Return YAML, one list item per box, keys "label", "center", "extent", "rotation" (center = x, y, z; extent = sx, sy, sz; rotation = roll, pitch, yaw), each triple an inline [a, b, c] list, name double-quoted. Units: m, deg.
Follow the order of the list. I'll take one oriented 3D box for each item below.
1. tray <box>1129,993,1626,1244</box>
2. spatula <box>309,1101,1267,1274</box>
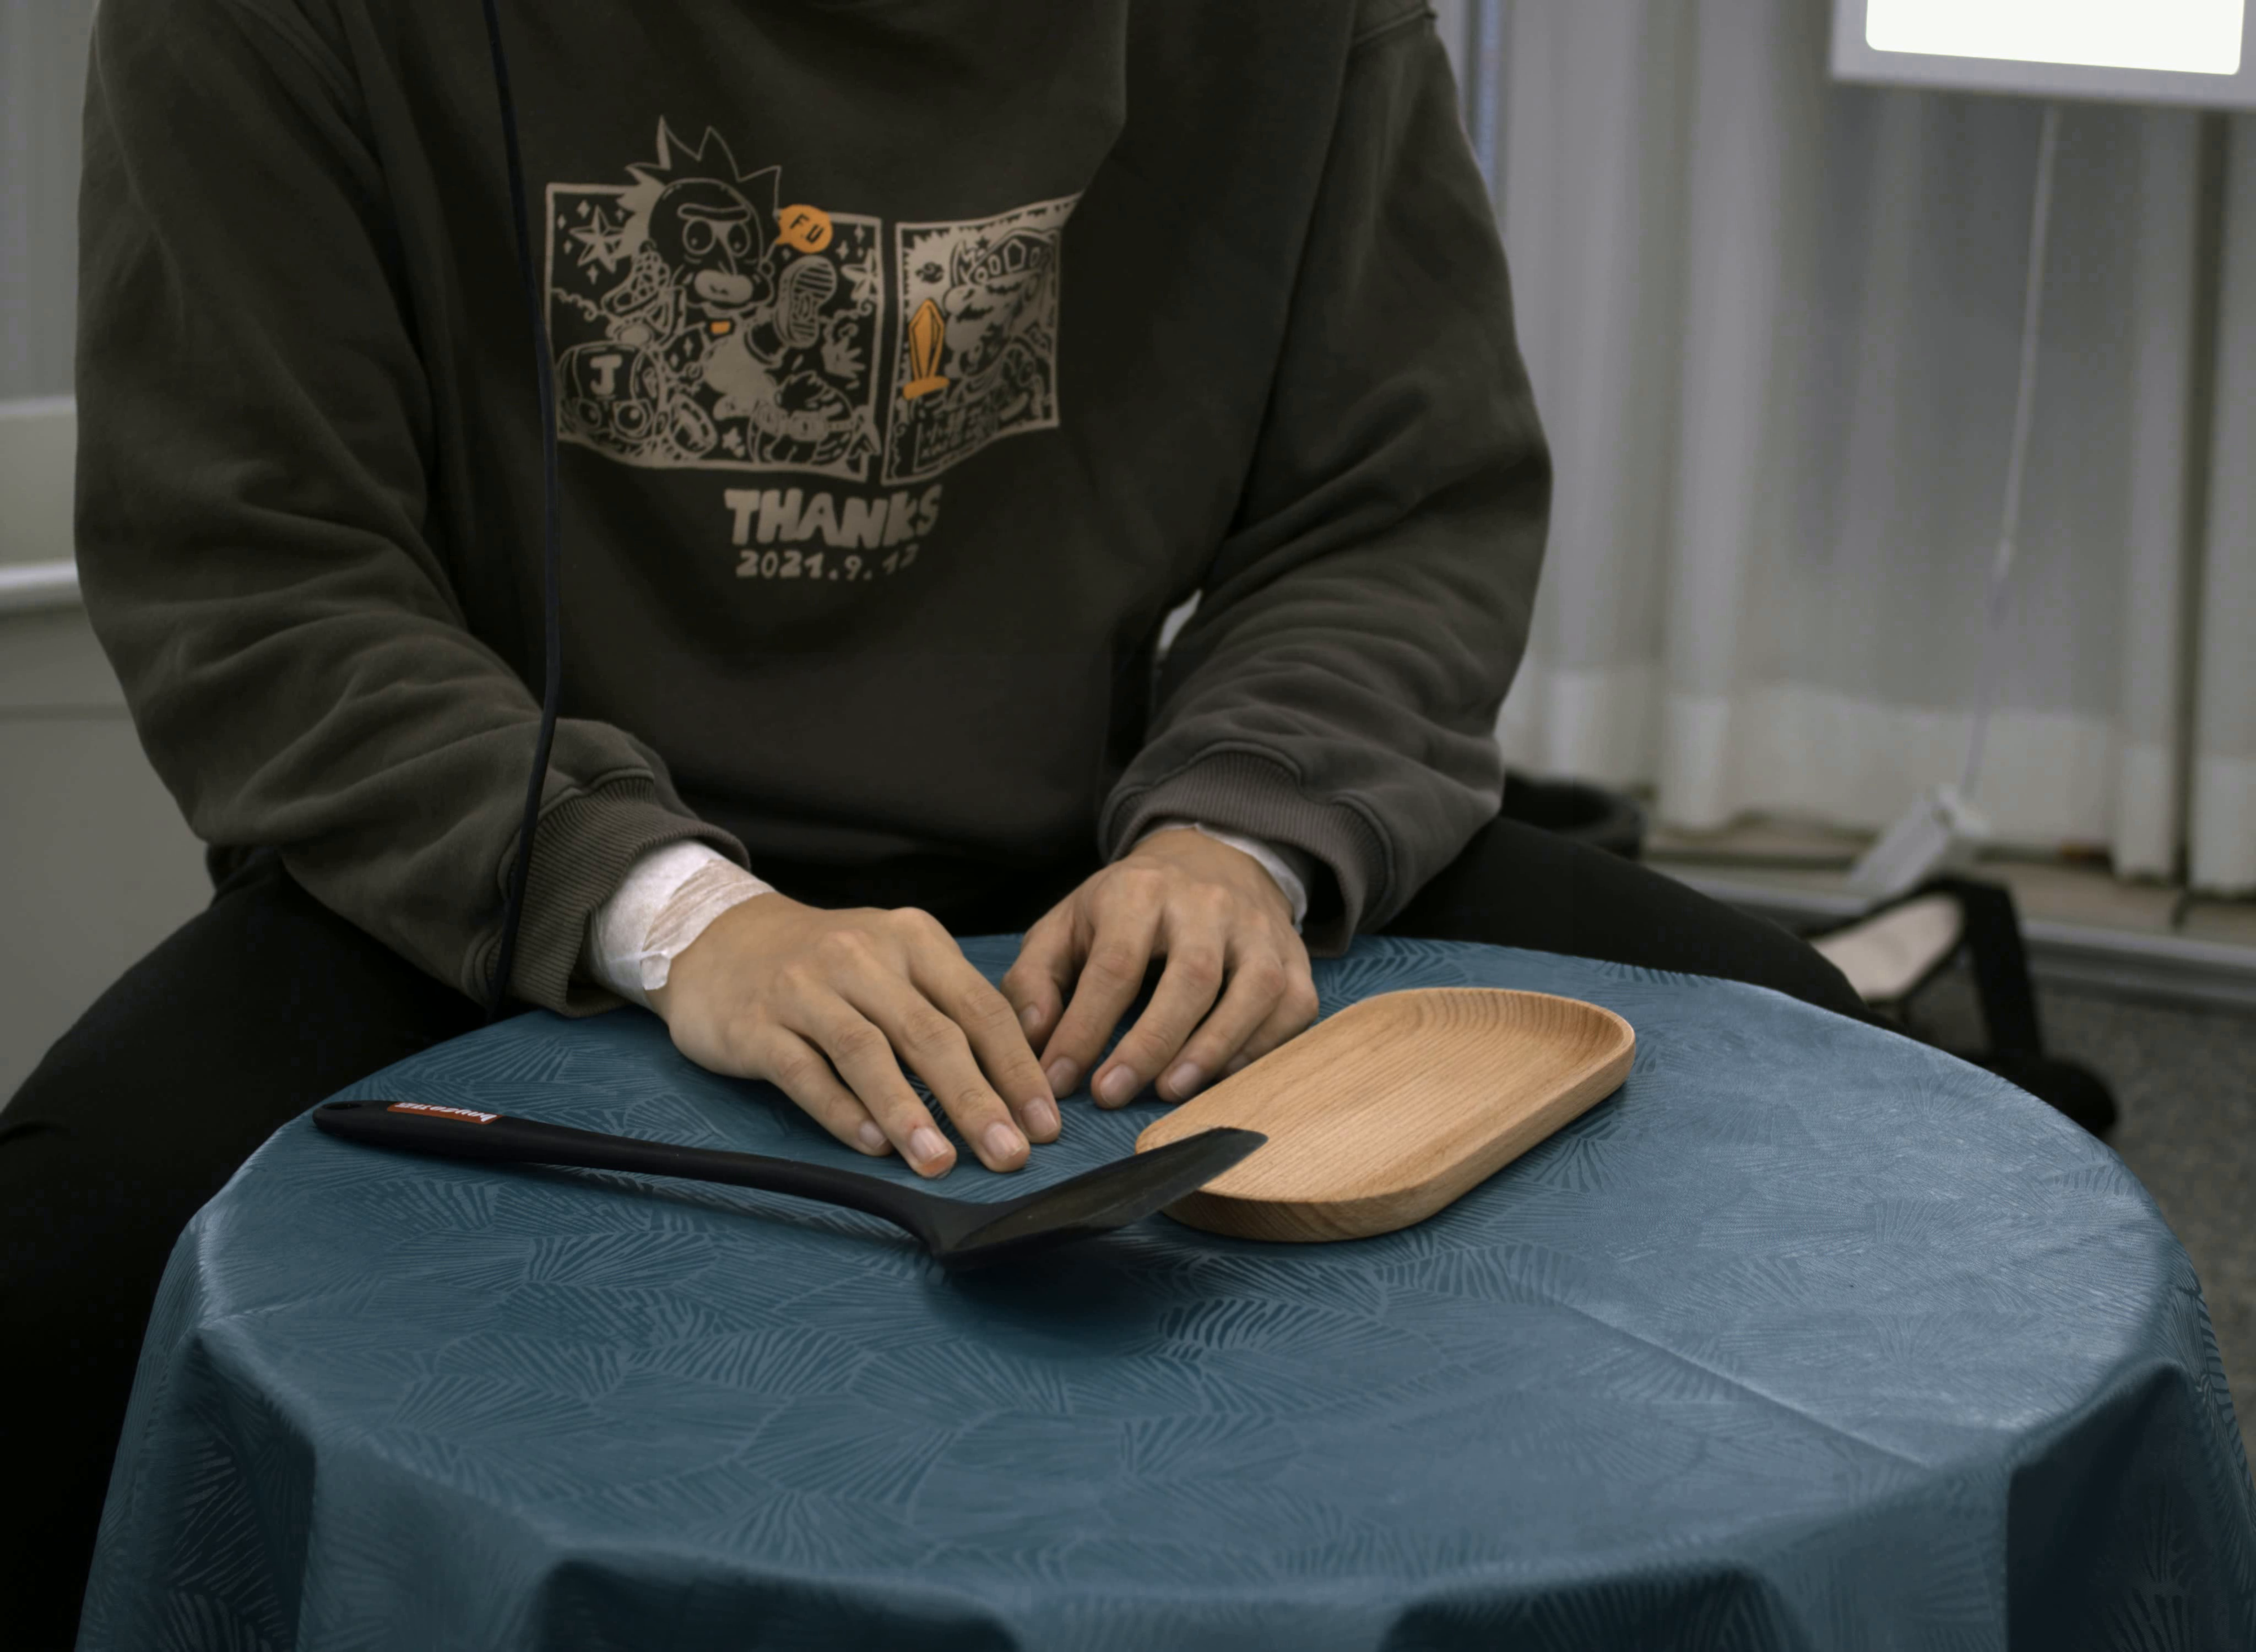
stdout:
- label: "tray"
  center: [0.082, 0.091, 1.680]
  extent: [0.100, 0.020, 0.232]
  rotation: [8, 18, 27]
- label: "spatula"
  center: [-0.117, 0.099, 1.605]
  extent: [0.322, 0.040, 0.100]
  rotation: [9, 16, 26]
